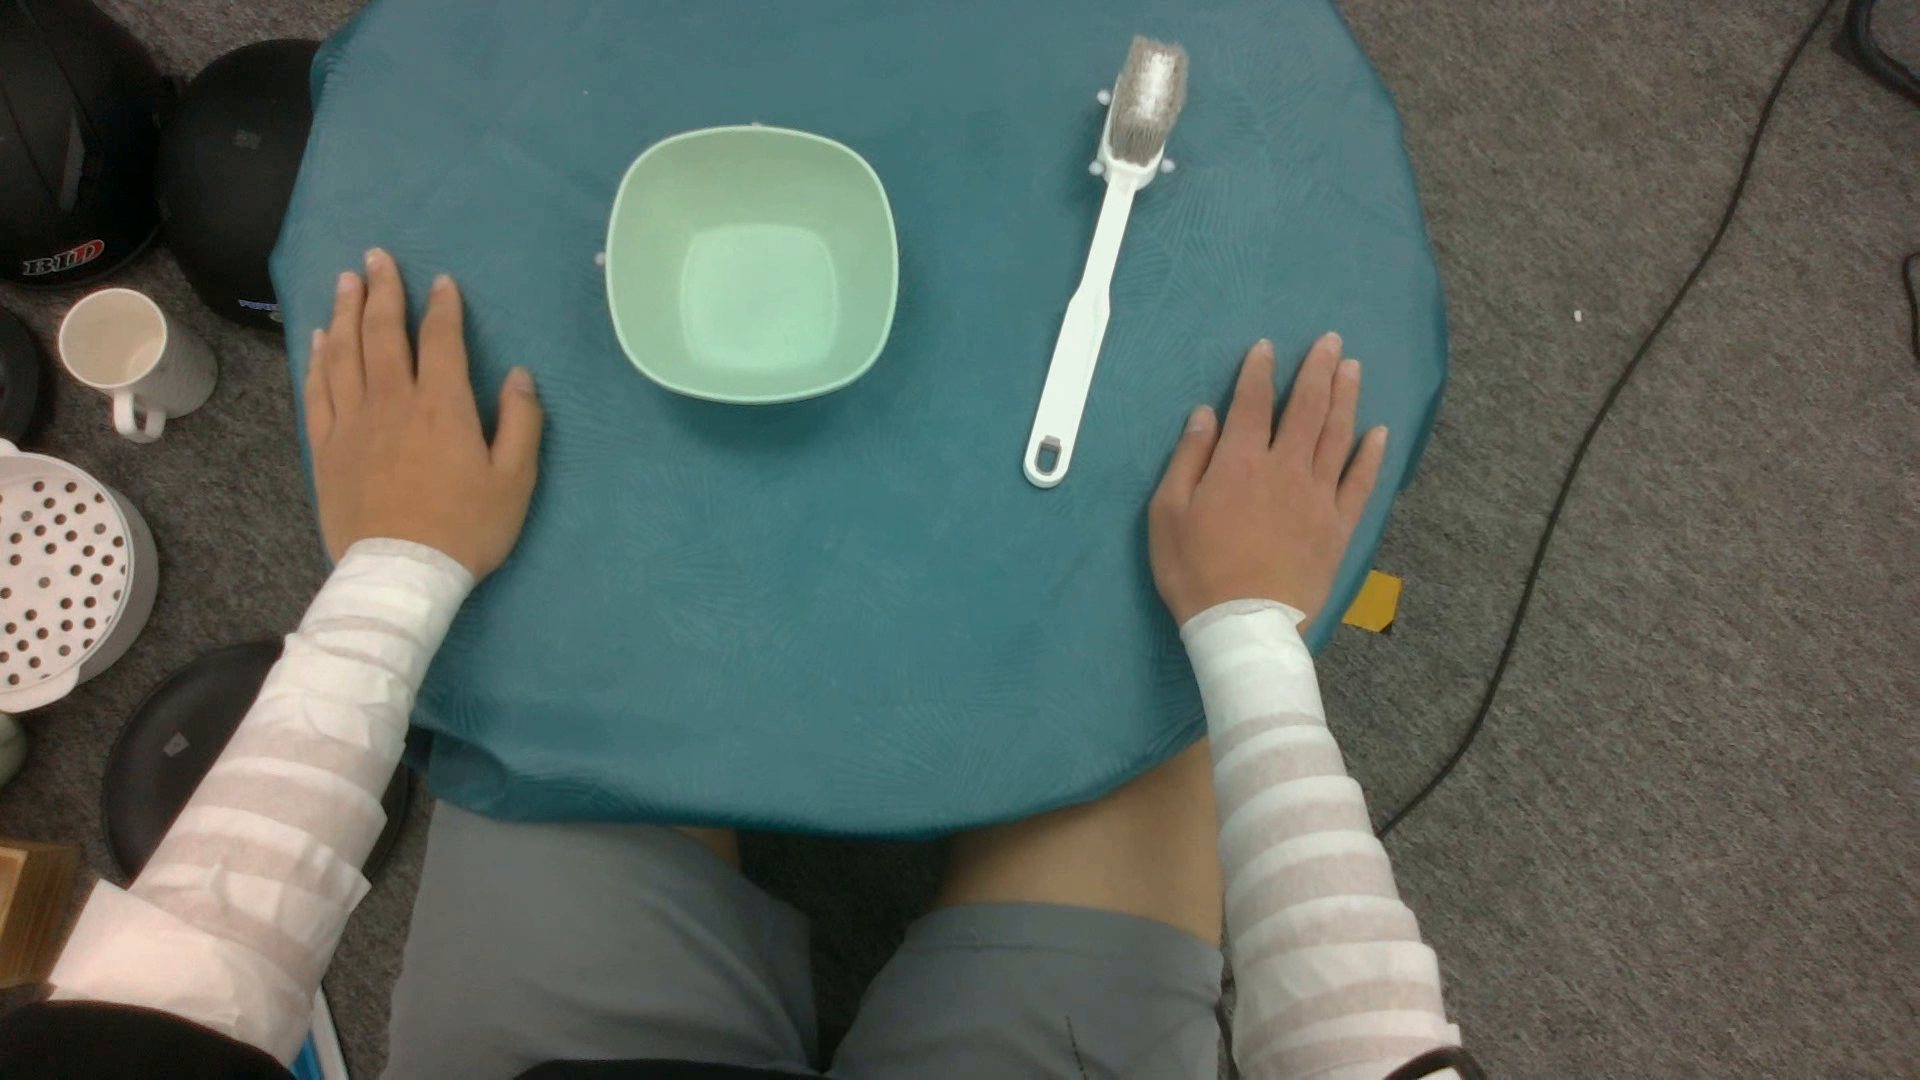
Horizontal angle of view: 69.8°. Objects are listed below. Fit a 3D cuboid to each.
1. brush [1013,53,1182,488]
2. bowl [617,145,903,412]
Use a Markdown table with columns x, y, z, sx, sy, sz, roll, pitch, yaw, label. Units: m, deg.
| x | y | z | sx | sy | sz | roll | pitch | yaw | label |
| --- | --- | --- | --- | --- | --- | --- | --- | --- | --- |
| 0.072 | -0.145 | 0.722 | 0.034 | 0.050 | 0.244 | 17 | 77 | -1 | brush |
| -0.099 | -0.125 | 0.700 | 0.151 | 0.058 | 0.152 | 1 | 78 | -3 | bowl |
